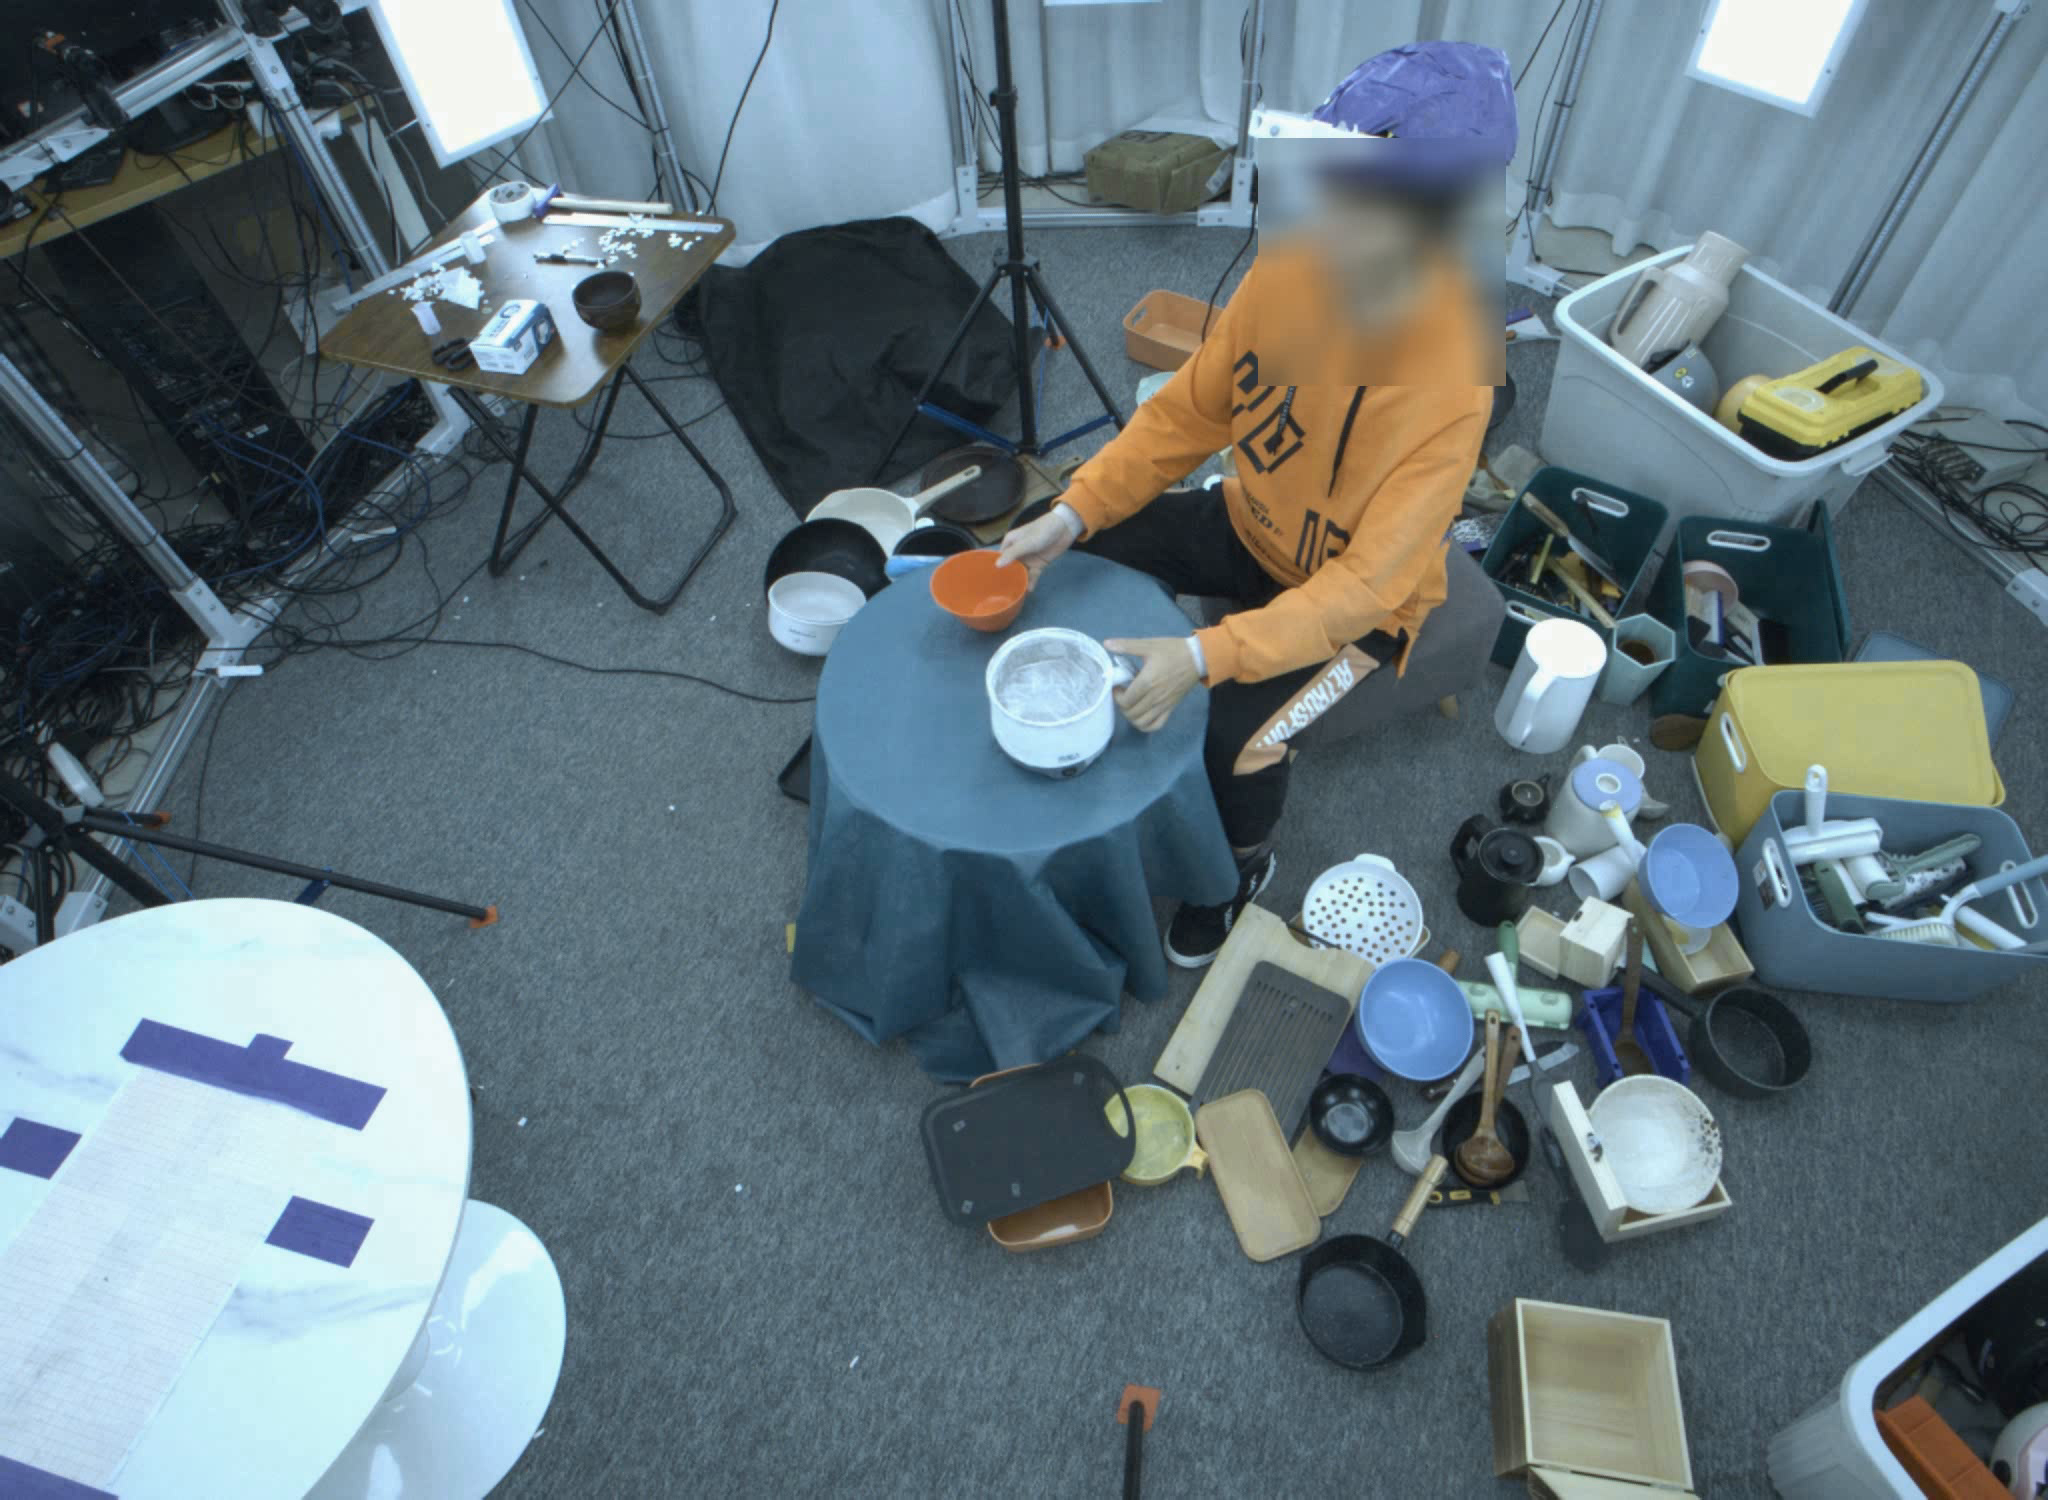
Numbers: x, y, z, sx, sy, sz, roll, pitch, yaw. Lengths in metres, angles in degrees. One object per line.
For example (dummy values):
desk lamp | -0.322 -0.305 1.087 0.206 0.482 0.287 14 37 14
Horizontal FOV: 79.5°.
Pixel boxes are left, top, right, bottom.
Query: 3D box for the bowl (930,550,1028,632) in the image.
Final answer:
bowl | -0.063 -0.232 1.892 0.147 0.106 0.146 -3 58 6

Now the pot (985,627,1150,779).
pot | 0.065 -0.073 1.751 0.235 0.138 0.176 -15 56 -7
